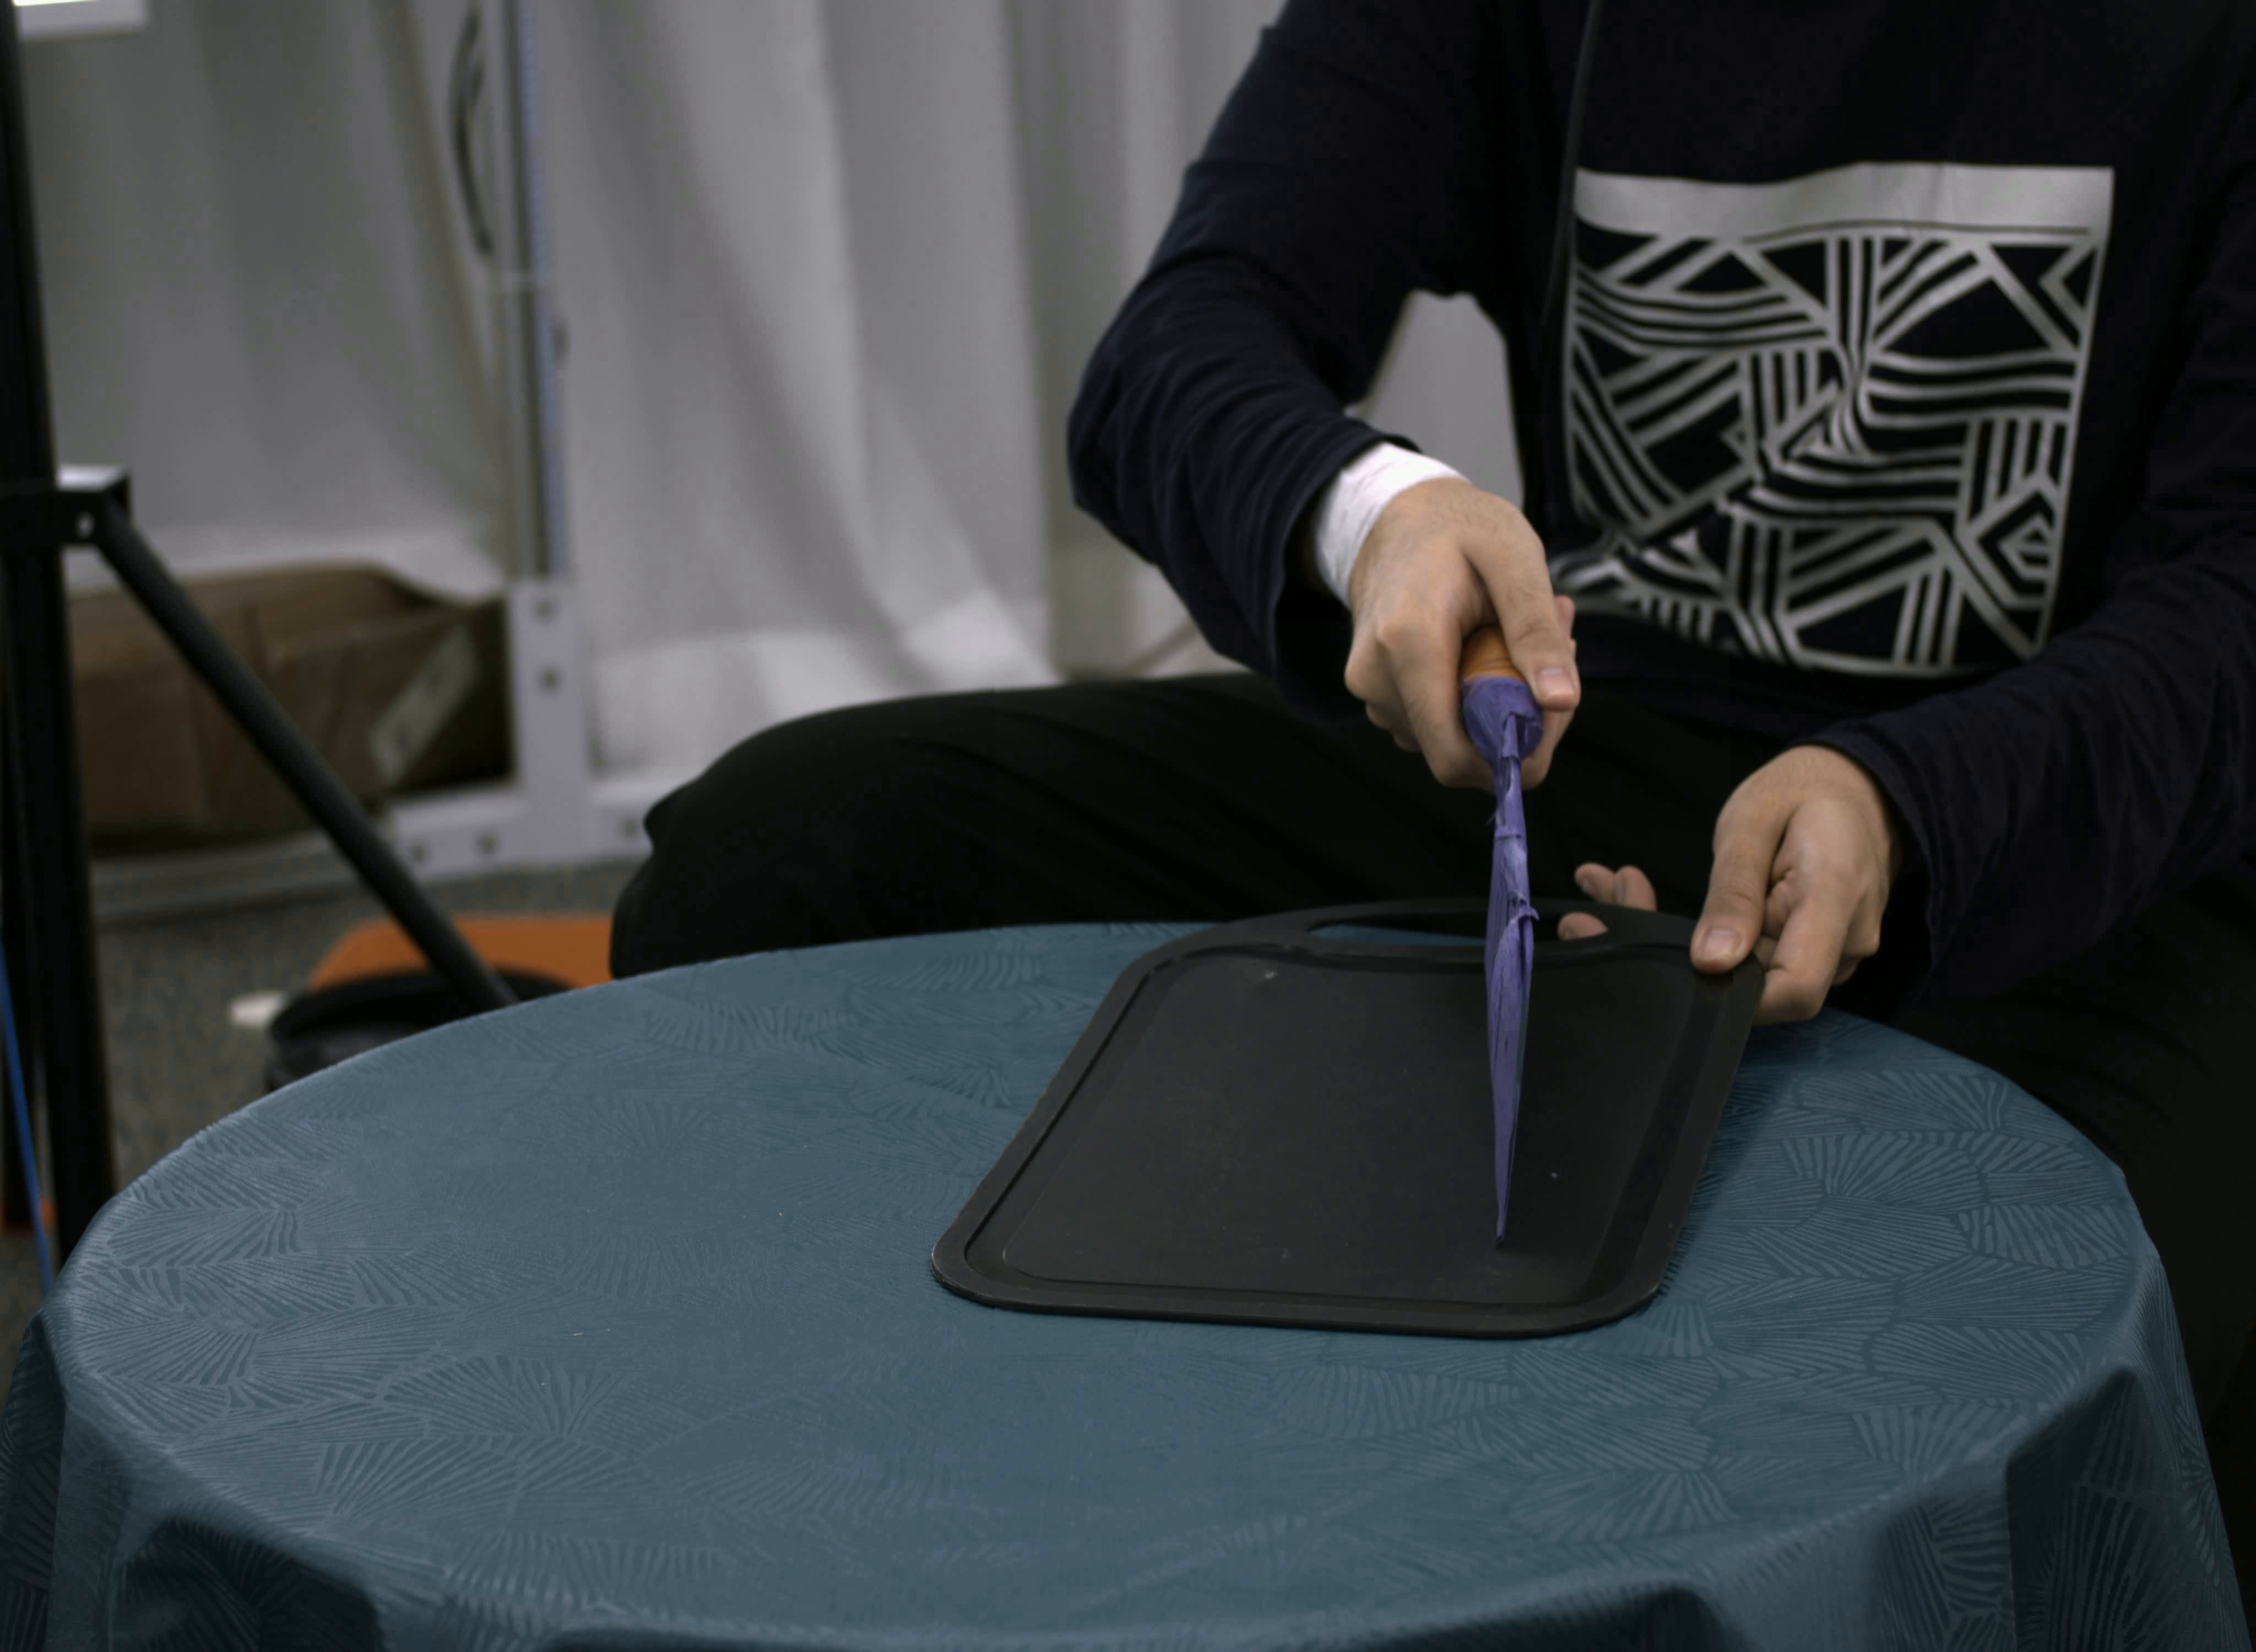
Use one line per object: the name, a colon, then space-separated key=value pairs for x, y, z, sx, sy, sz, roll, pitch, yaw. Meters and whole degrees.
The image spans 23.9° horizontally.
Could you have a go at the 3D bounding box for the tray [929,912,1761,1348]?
tray: x=0.073 y=0.083 z=1.596 sx=0.213 sy=0.010 sz=0.323 roll=2 pitch=20 yaw=15

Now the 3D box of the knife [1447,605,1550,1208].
knife: x=0.109 y=0.021 z=1.617 sx=0.032 sy=0.104 sz=0.315 roll=6 pitch=20 yaw=2
